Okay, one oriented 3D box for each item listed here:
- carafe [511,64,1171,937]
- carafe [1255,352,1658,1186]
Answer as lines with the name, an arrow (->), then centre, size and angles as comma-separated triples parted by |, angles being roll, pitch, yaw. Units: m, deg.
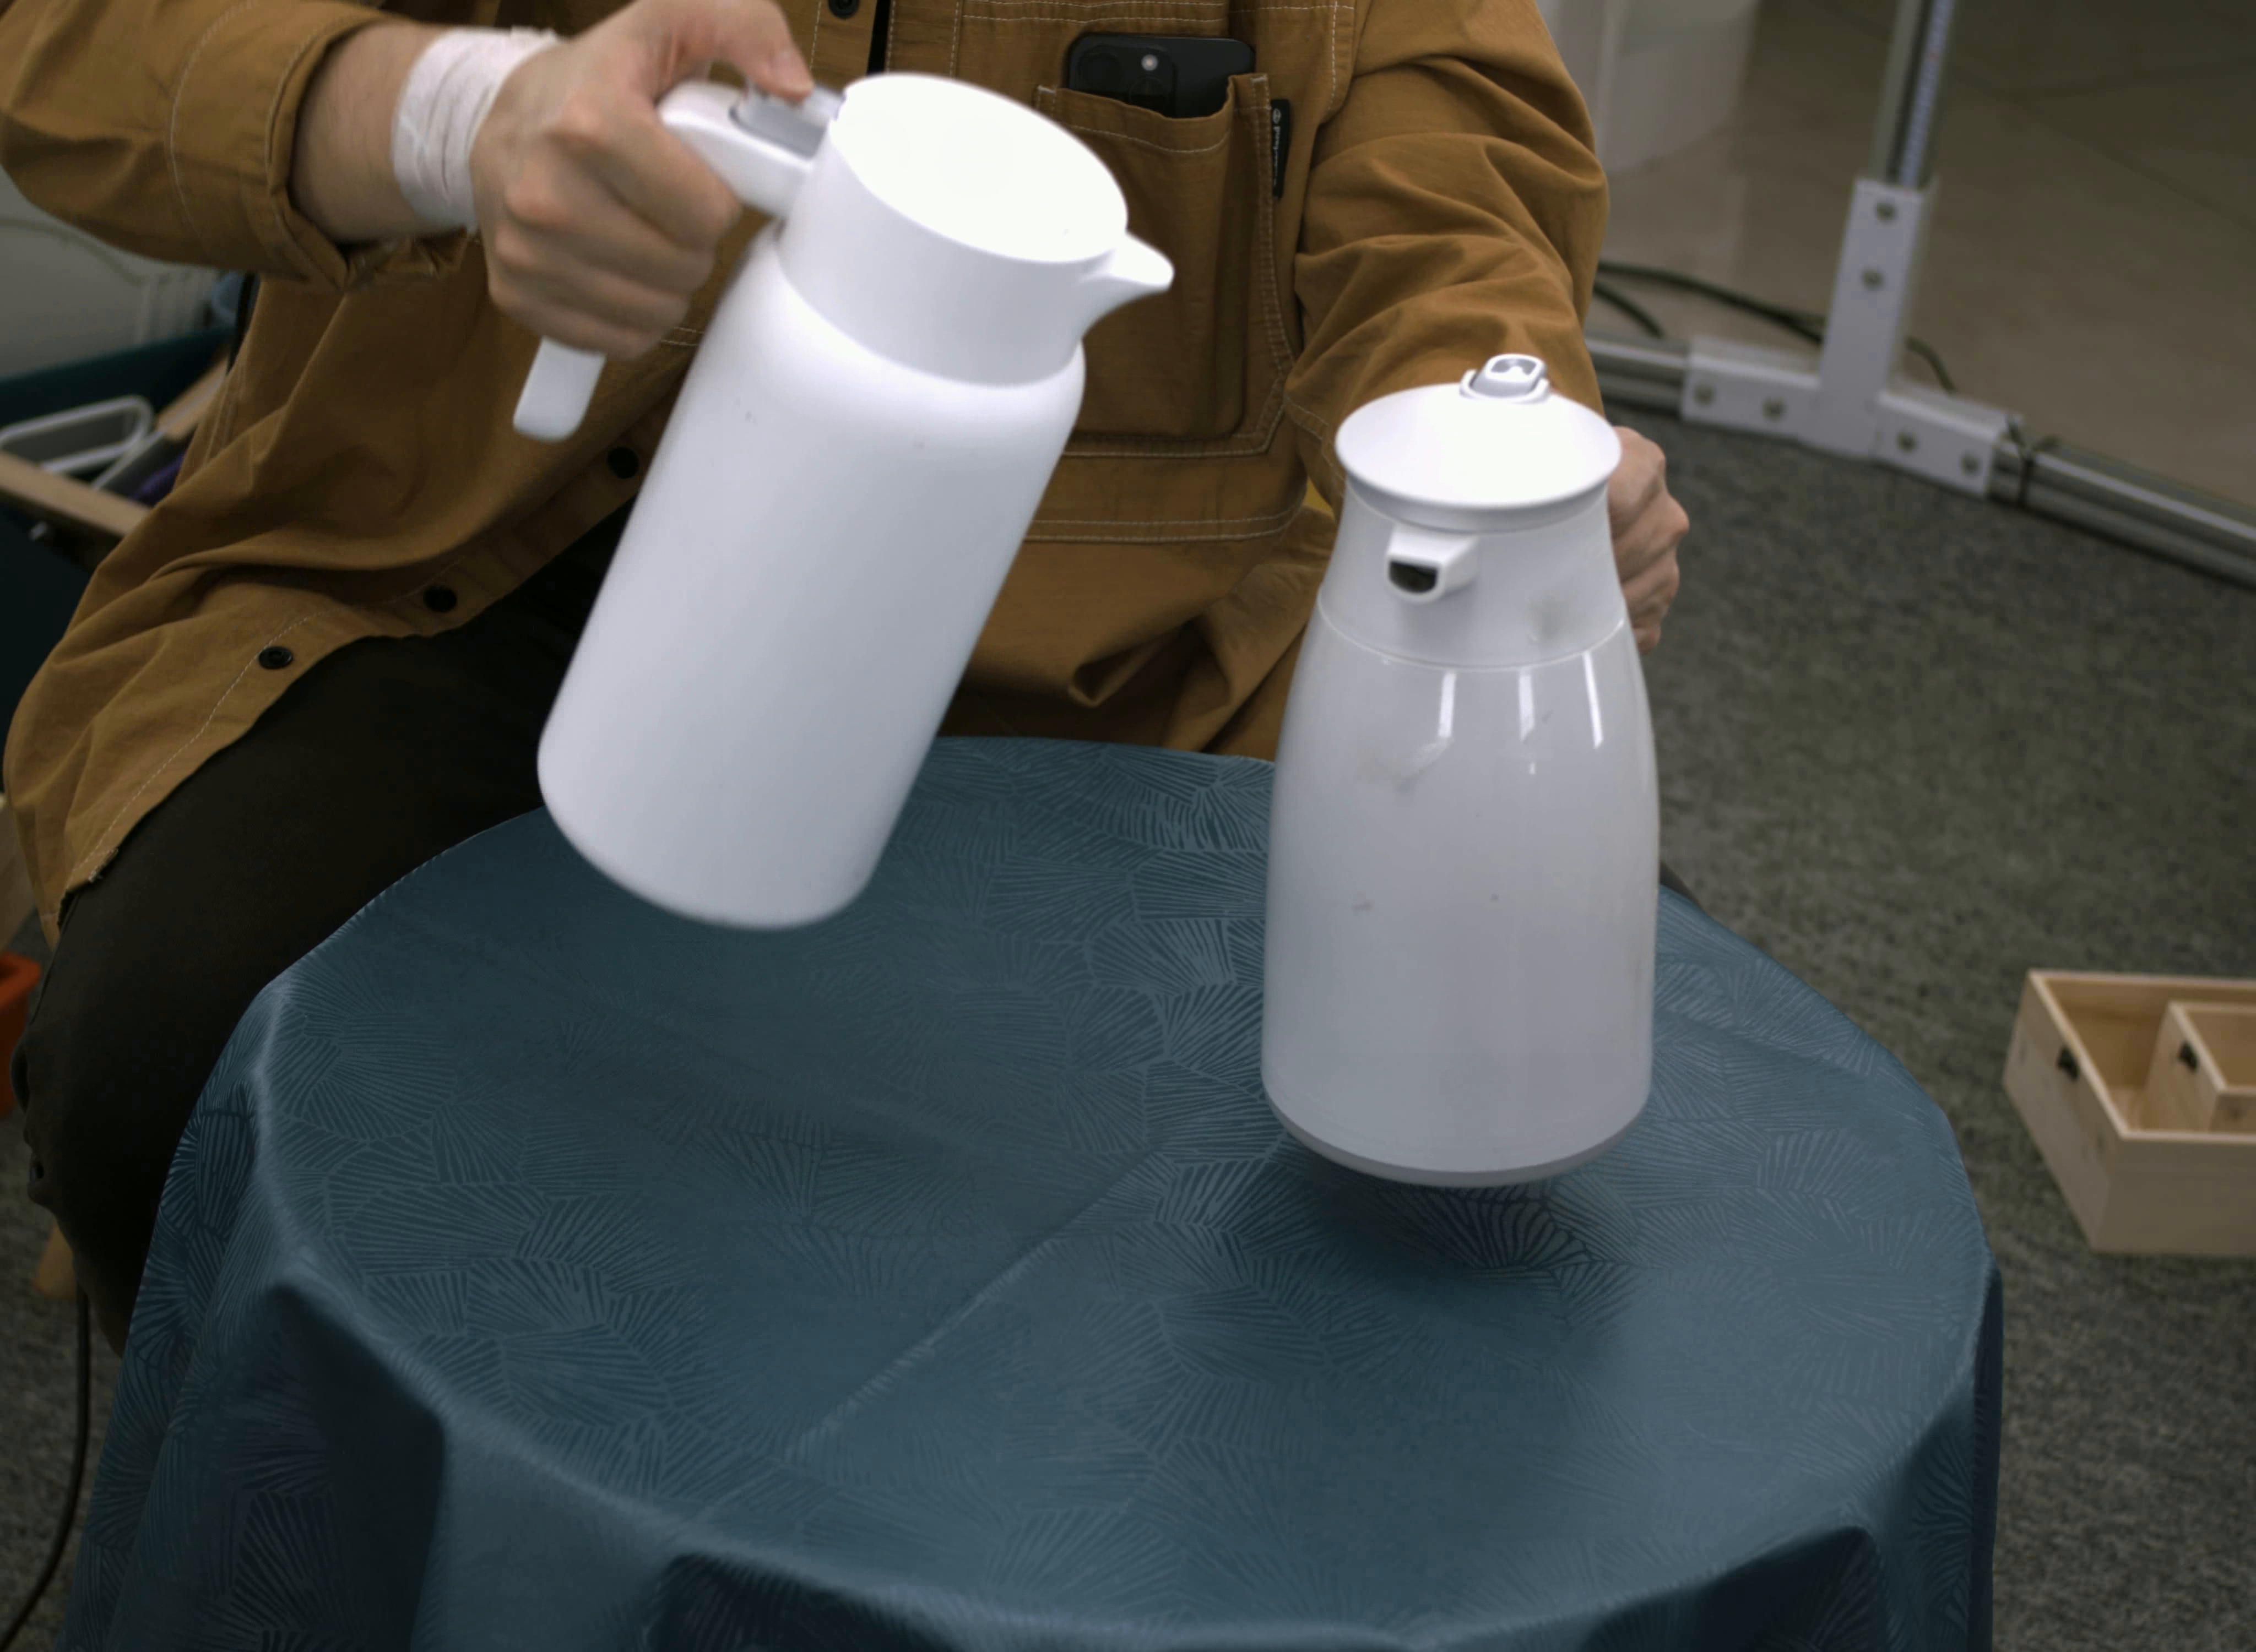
carafe -> -0.110, -0.105, 1.681 | 0.172, 0.268, 0.124 | 22, 34, -4
carafe -> 0.116, -0.030, 1.761 | 0.133, 0.247, 0.168 | 10, 29, 18
